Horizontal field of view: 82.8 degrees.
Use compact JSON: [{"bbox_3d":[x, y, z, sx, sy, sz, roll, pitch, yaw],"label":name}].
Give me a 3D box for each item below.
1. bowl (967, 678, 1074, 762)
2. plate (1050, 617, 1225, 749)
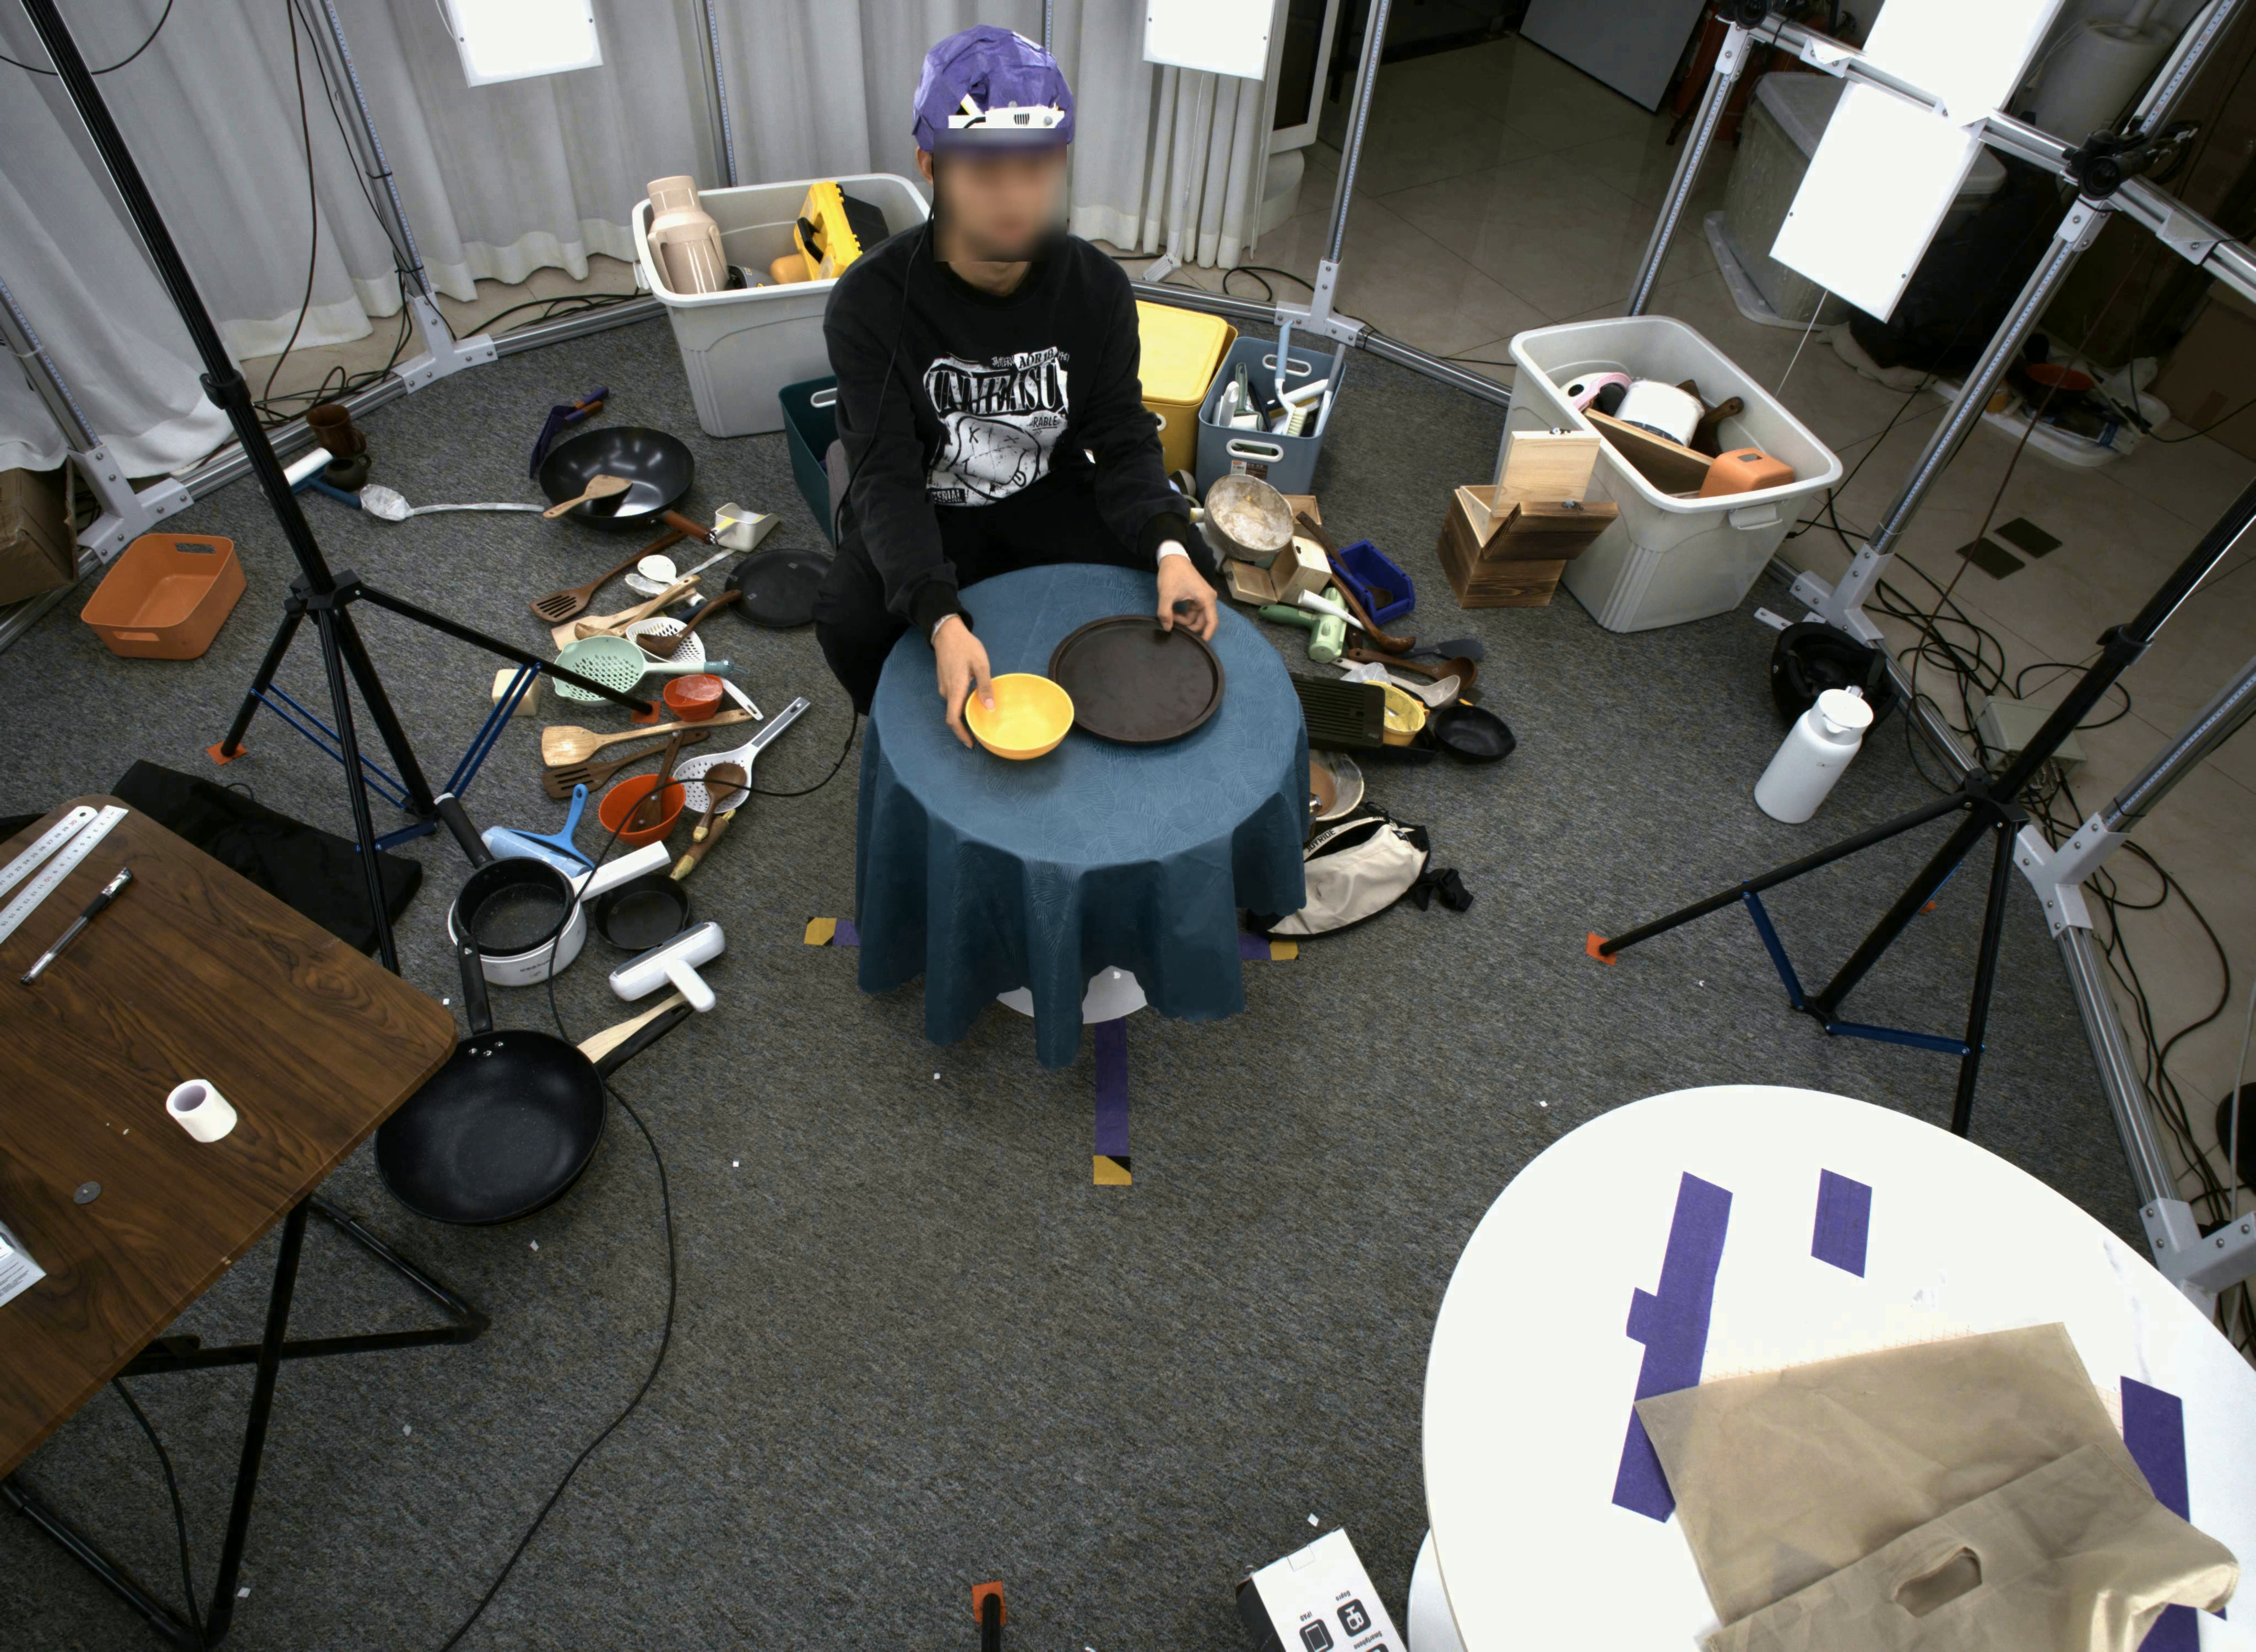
[{"bbox_3d":[-0.147,-0.133,1.754,0.145,0.058,0.149,2,46,-3],"label":"bowl"},{"bbox_3d":[0.014,-0.207,1.849,0.254,0.028,0.261,0,50,0],"label":"plate"}]
